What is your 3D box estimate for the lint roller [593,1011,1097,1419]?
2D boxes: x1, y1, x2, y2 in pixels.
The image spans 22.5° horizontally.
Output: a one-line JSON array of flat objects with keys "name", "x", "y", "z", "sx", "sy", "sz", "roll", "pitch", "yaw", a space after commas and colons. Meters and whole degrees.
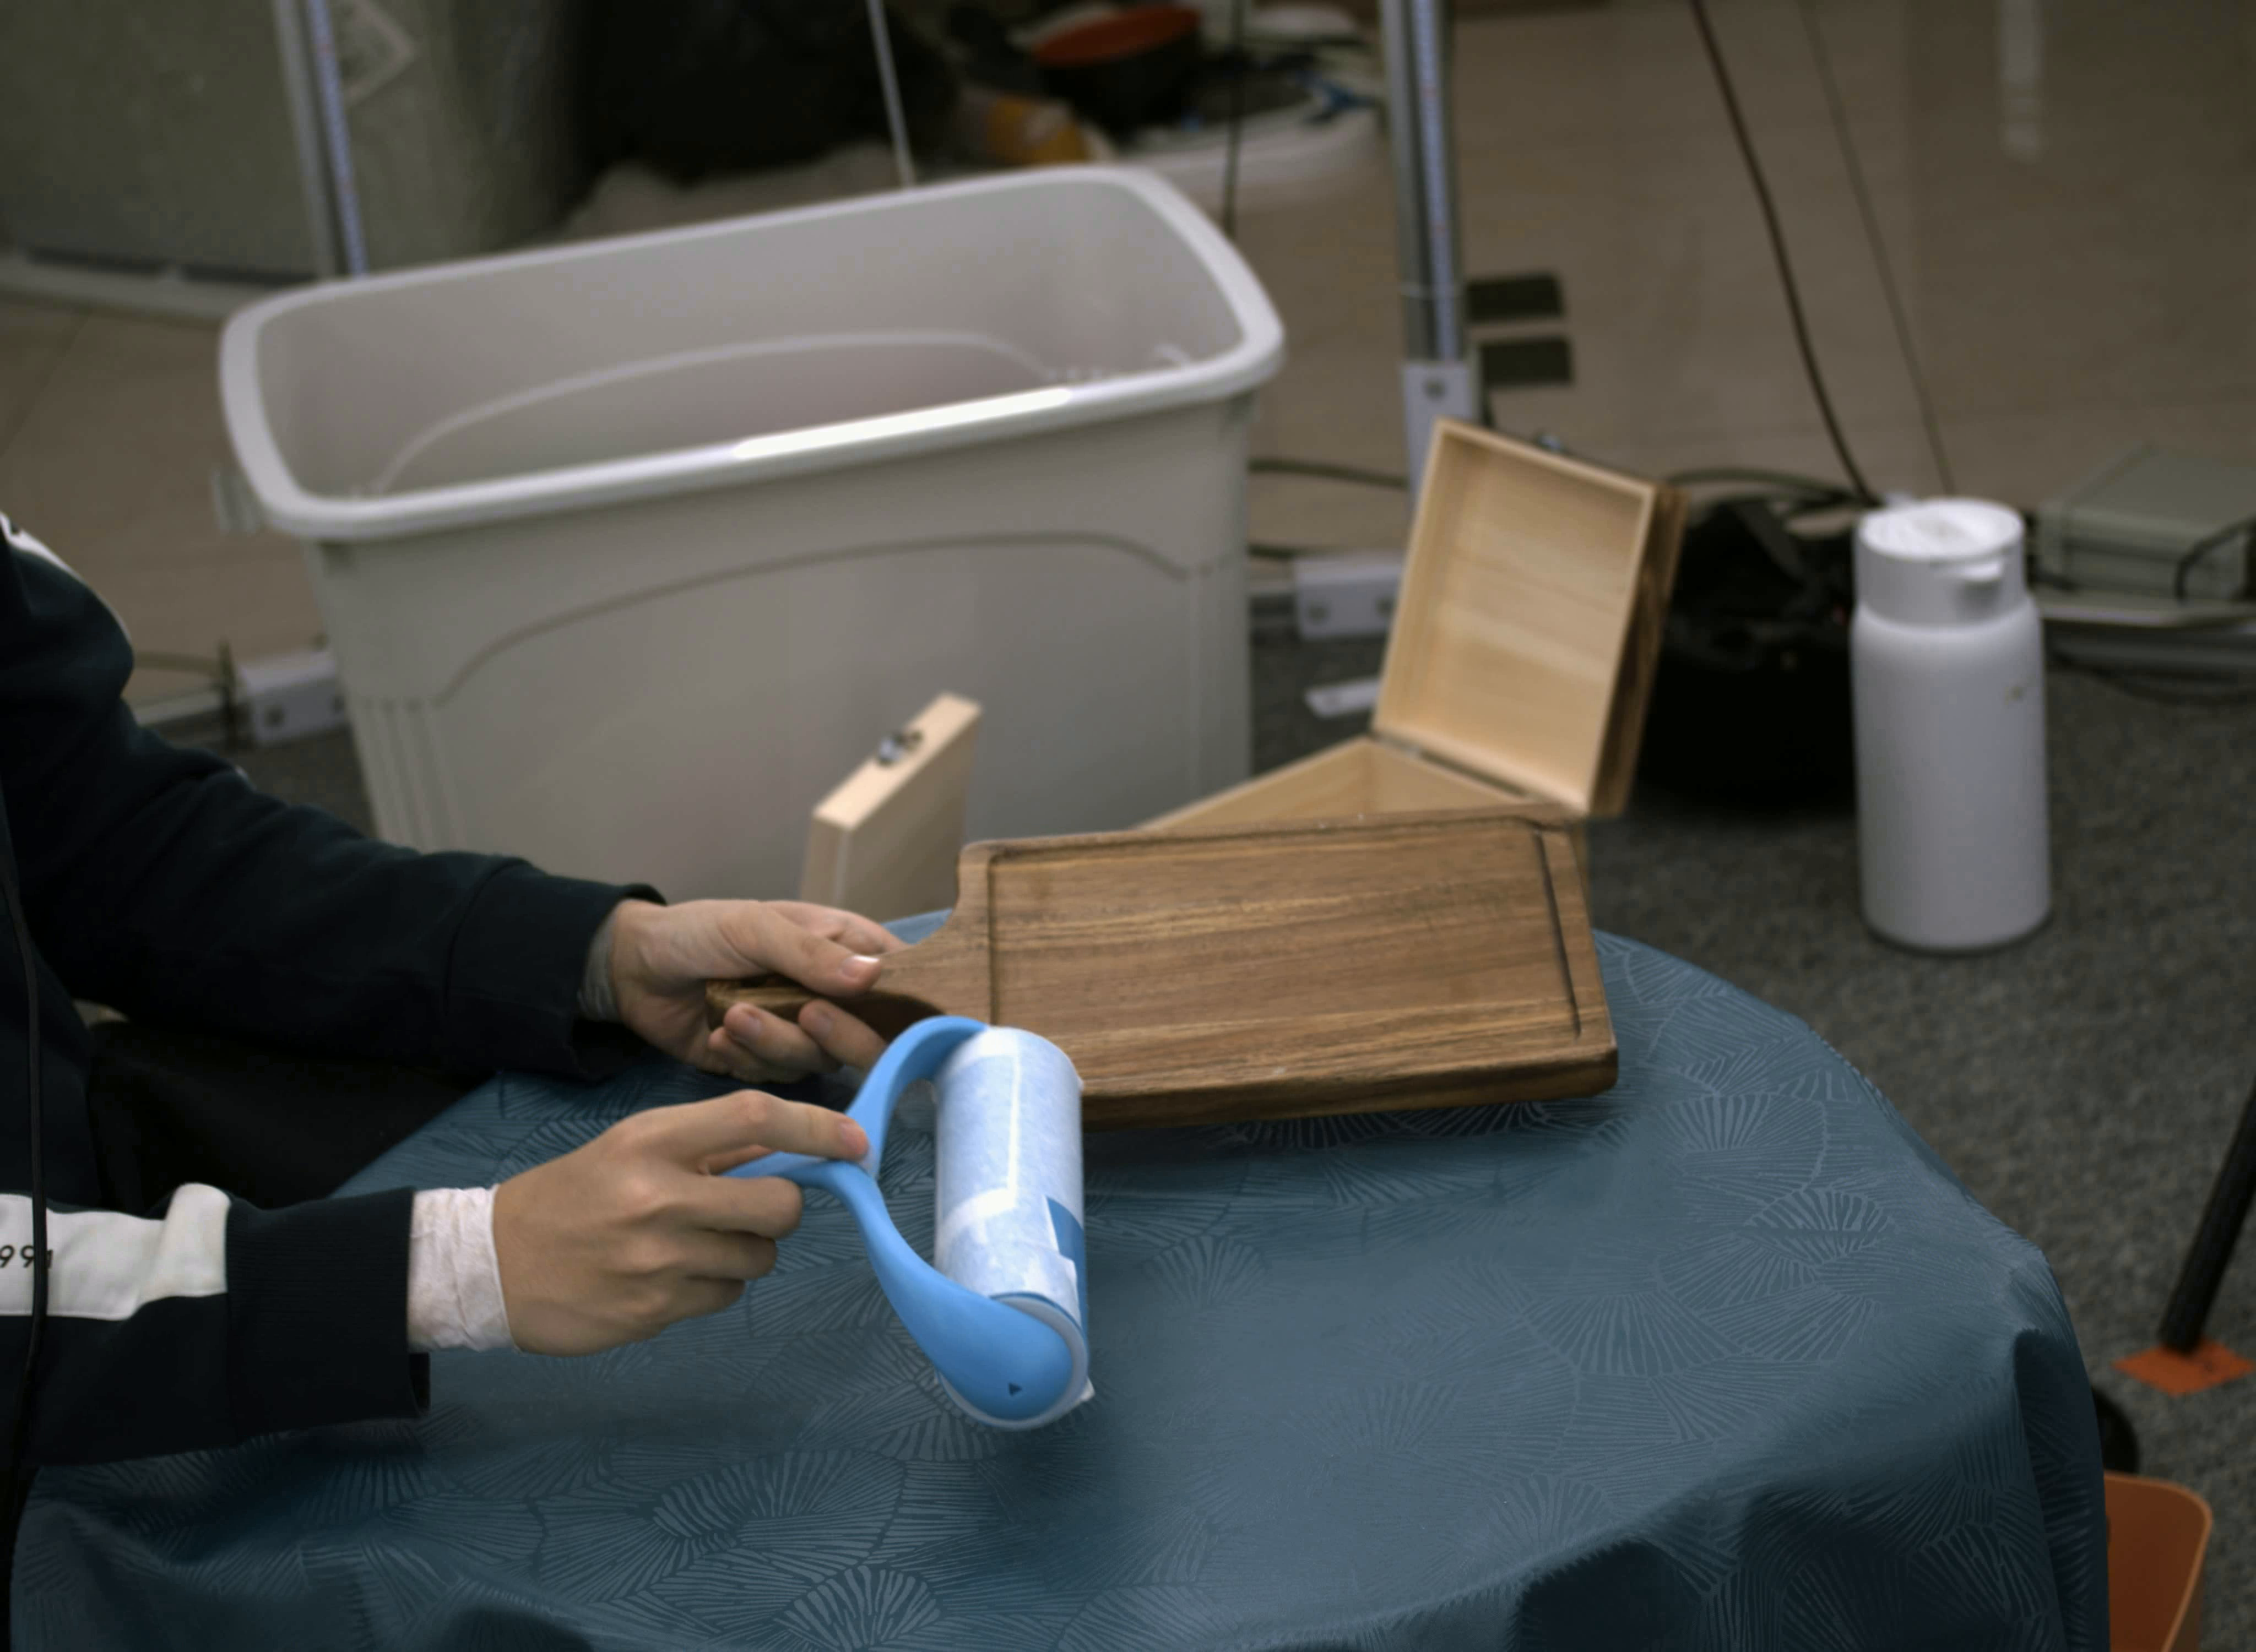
[{"name": "lint roller", "x": -0.101, "y": 0.140, "z": 2.006, "sx": 0.180, "sy": 0.069, "sz": 0.225, "roll": -4, "pitch": 28, "yaw": -4}]

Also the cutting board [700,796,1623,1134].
[{"name": "cutting board", "x": 0.008, "y": 0.057, "z": 2.219, "sx": 0.351, "sy": 0.023, "sz": 0.198, "roll": -5, "pitch": 31, "yaw": -1}]
